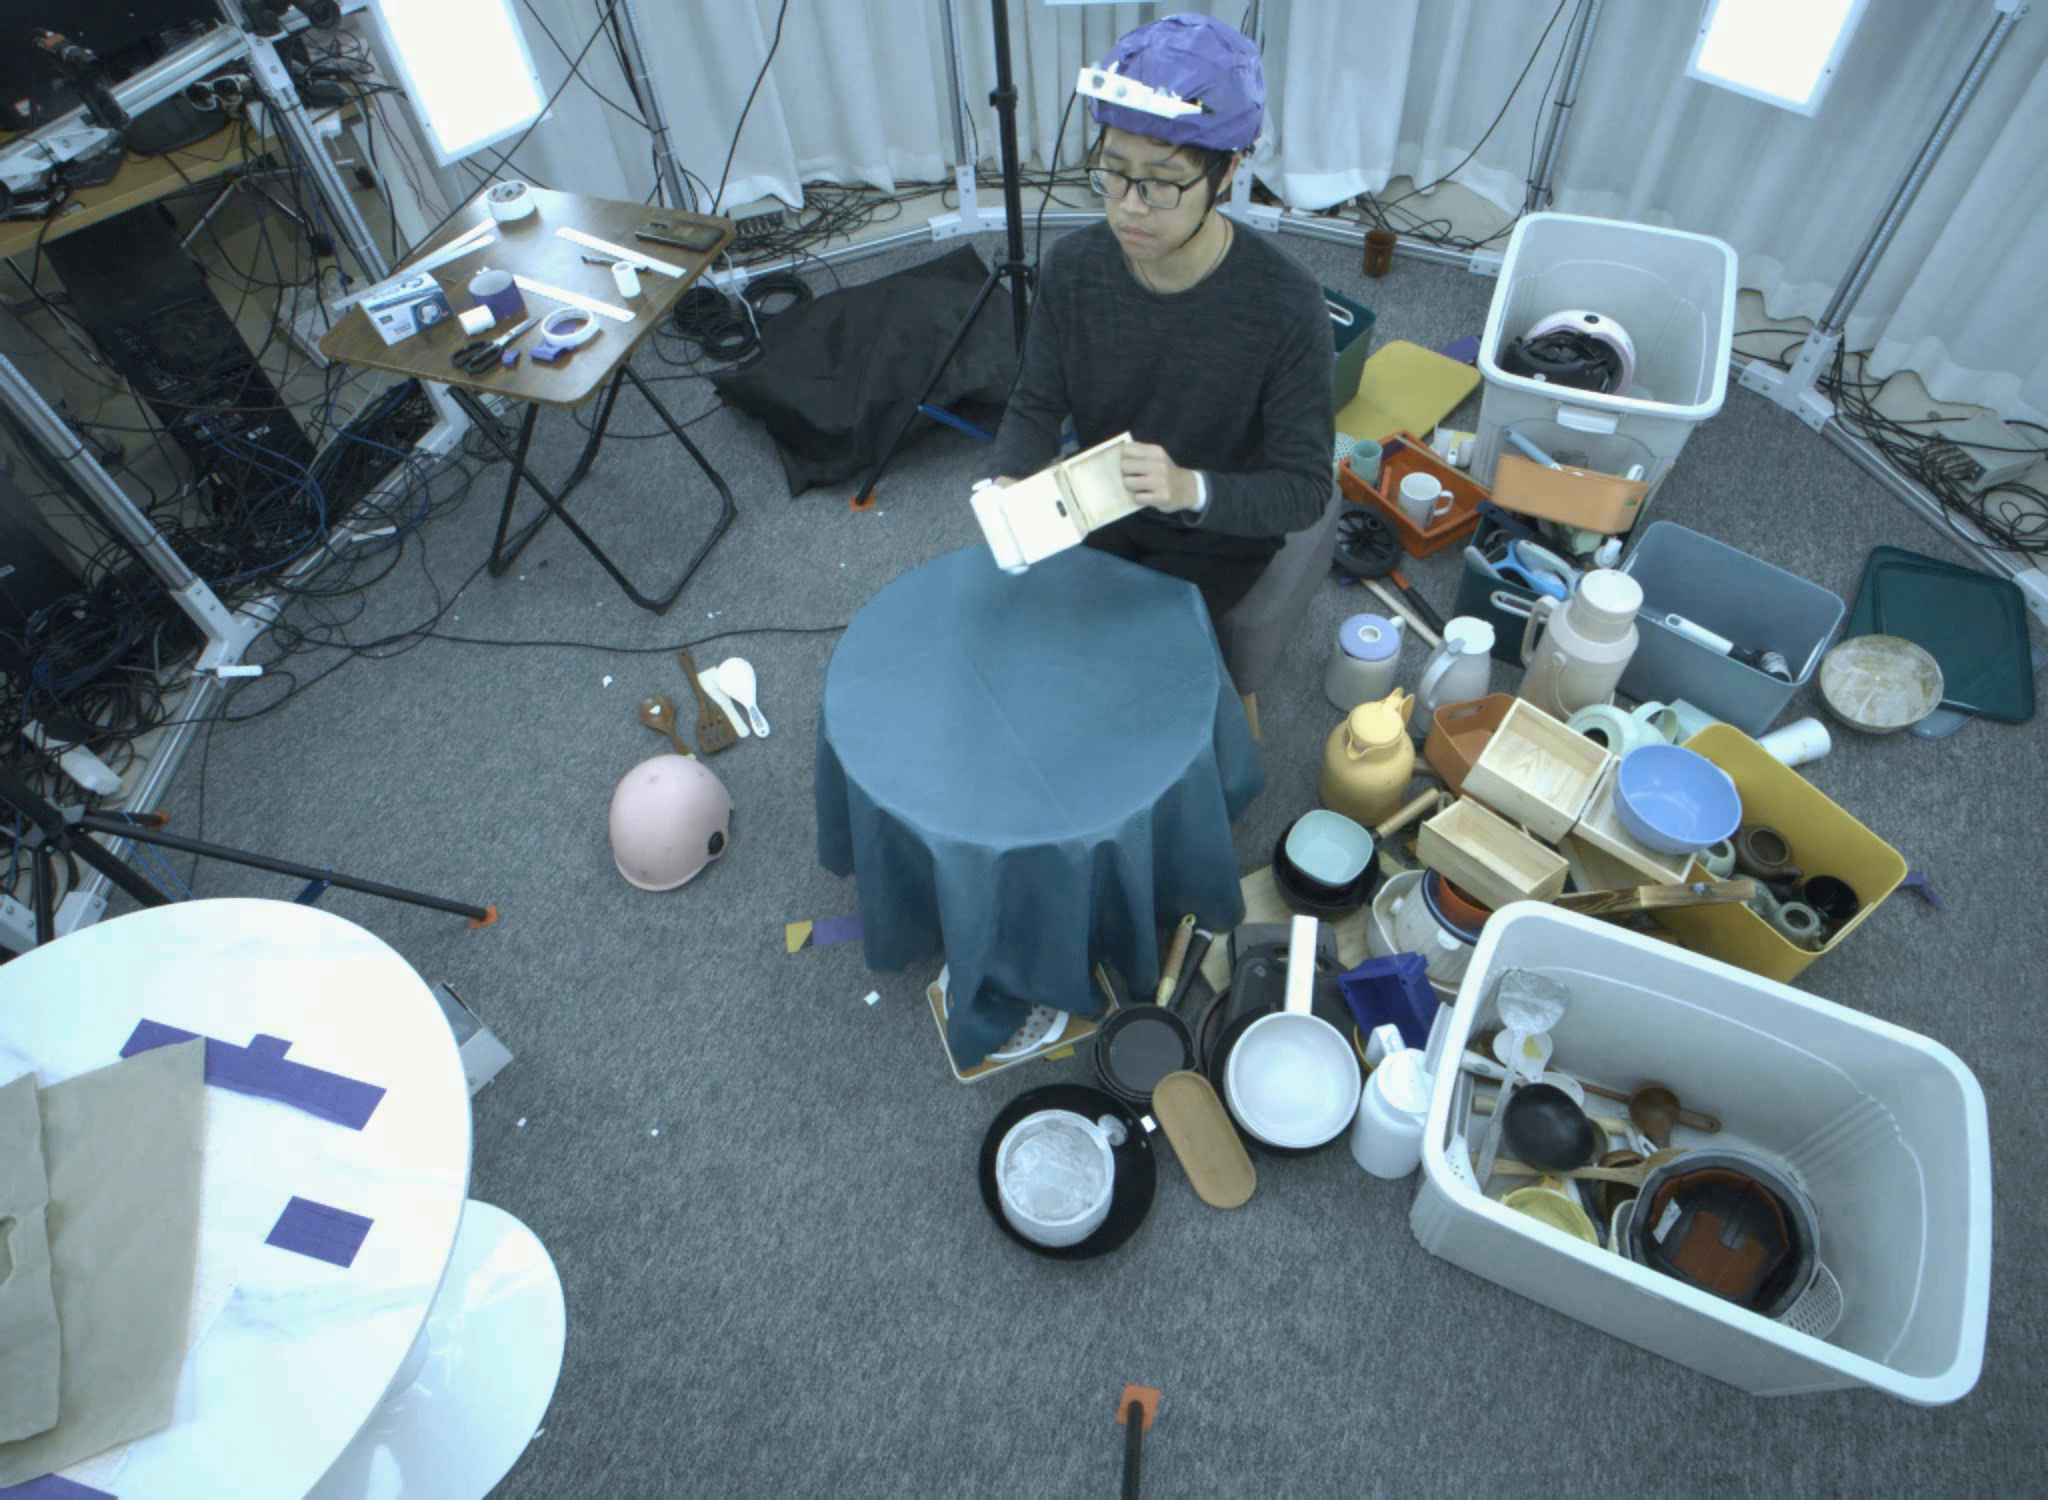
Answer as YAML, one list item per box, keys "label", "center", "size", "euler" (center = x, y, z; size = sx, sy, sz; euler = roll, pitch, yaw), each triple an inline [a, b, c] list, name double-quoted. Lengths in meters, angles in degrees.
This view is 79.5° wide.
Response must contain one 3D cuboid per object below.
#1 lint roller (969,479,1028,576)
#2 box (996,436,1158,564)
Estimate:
- label: "lint roller"
  center: [-0.035, -0.311, 1.703]
  size: [0.050, 0.179, 0.134]
  euler: [-24, 101, 3]
- label: "box"
  center: [0.073, -0.337, 1.628]
  size: [0.183, 0.103, 0.134]
  euler: [-21, 14, 13]
